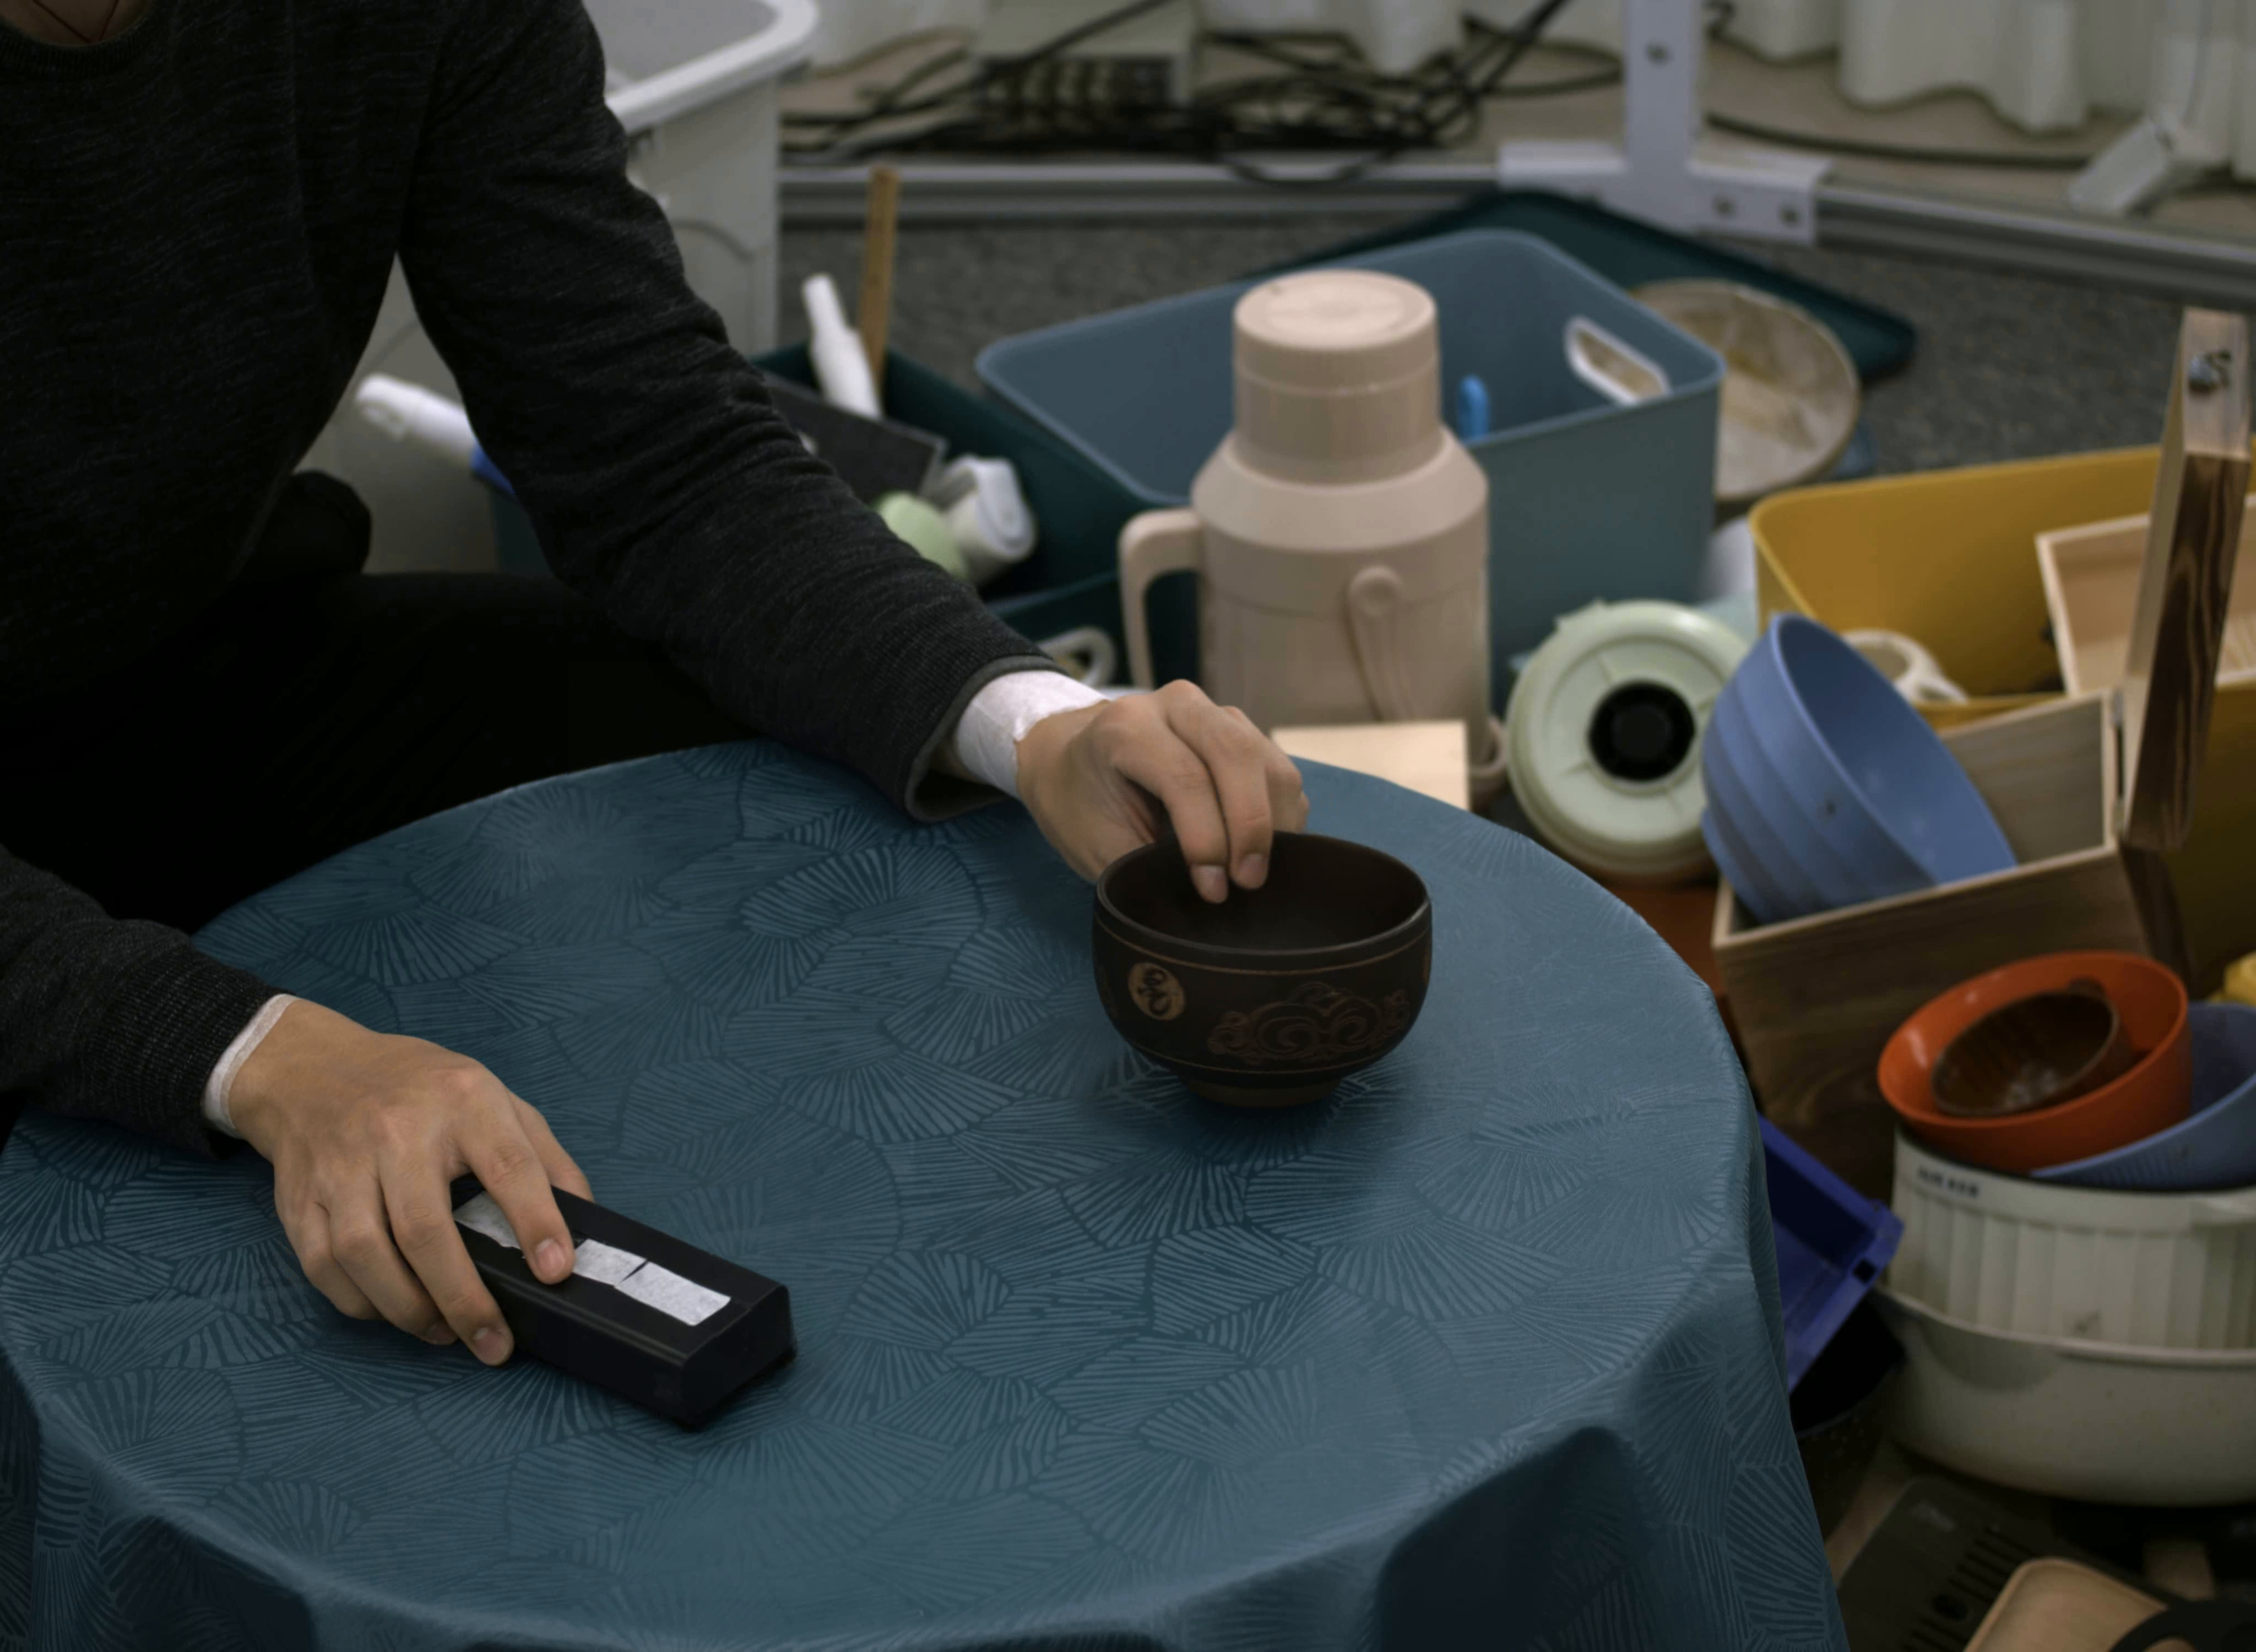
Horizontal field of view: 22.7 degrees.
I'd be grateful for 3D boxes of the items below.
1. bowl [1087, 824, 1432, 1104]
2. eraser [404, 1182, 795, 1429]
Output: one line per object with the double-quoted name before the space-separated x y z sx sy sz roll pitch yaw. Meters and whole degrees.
"bowl" 0.044 0.052 1.907 0.117 0.069 0.119 1 21 0
"eraser" -0.168 0.152 1.786 0.125 0.030 0.054 18 34 34
